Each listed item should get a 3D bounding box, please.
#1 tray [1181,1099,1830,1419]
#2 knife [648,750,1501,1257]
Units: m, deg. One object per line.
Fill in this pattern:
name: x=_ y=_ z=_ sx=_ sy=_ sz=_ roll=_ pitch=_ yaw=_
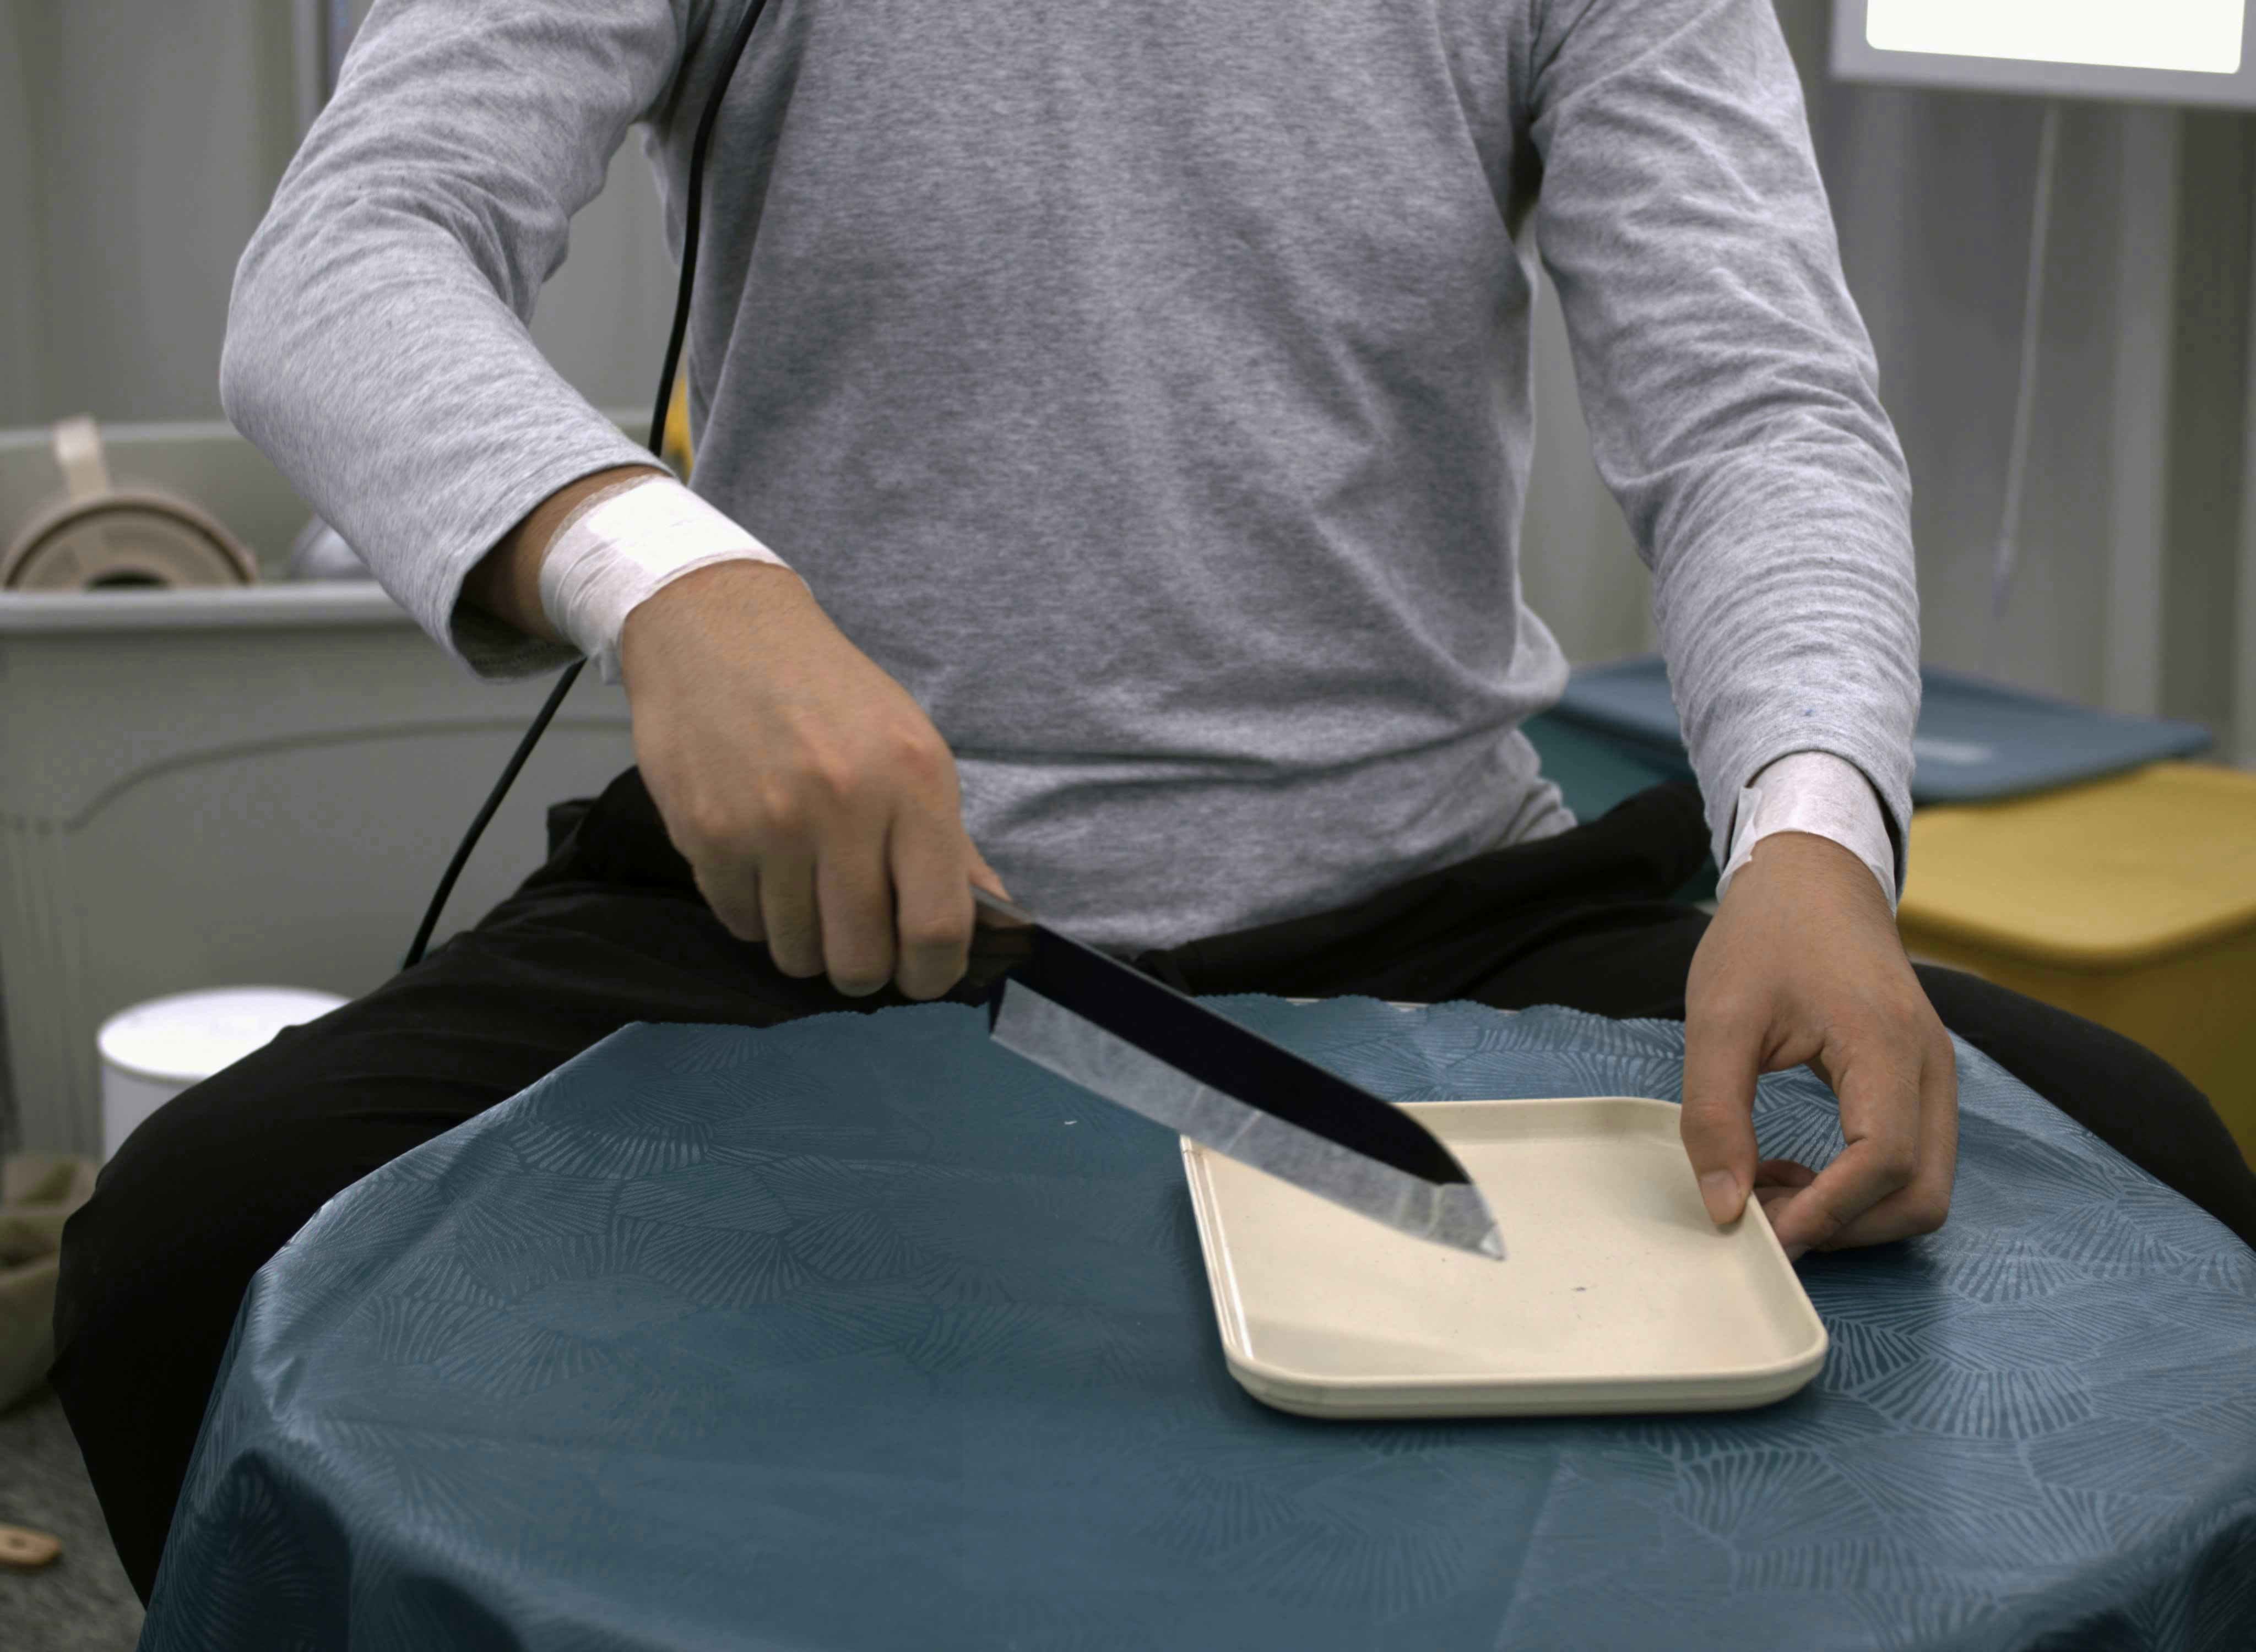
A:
tray: x=0.106 y=0.126 z=1.547 sx=0.171 sy=0.017 sz=0.238 roll=0 pitch=15 yaw=-3
knife: x=-0.017 y=0.050 z=1.501 sx=0.287 sy=0.050 sz=0.020 roll=29 pitch=36 yaw=15
